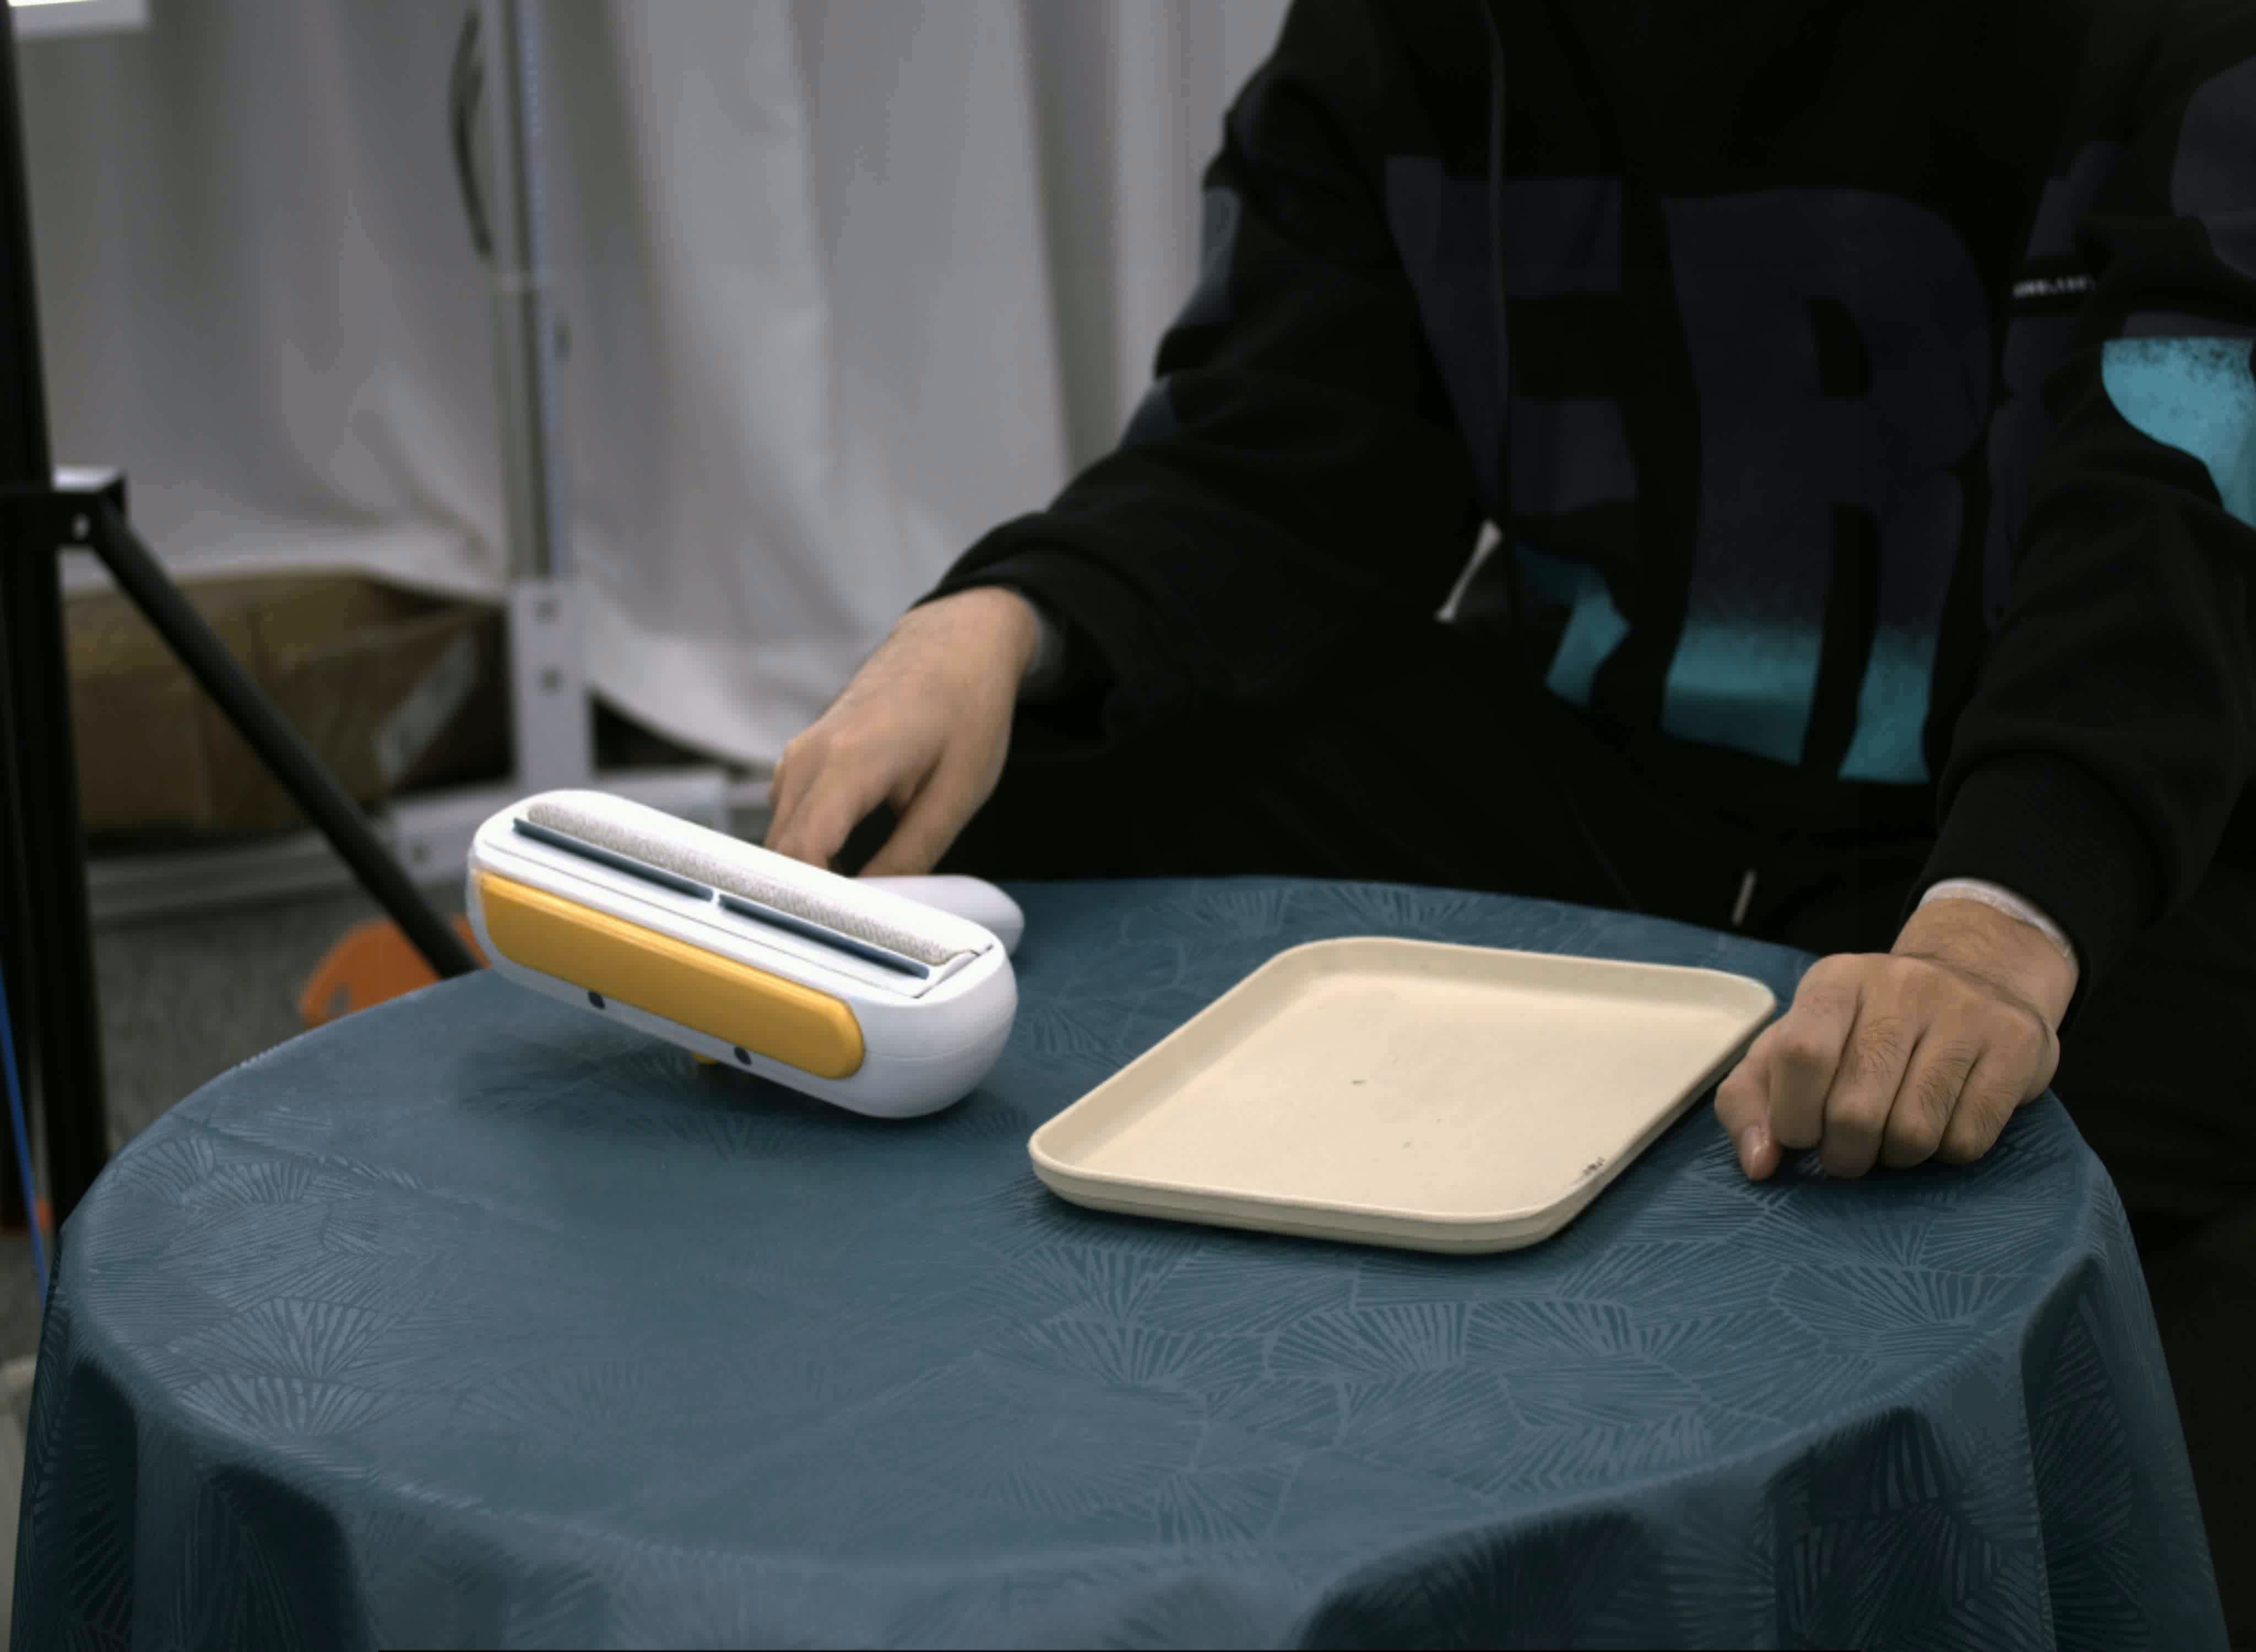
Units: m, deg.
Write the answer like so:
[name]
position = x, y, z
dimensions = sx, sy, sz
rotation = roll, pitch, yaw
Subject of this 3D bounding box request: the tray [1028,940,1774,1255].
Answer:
[tray]
position = 0.087, 0.081, 1.606
dimensions = 0.174, 0.017, 0.236
rotation = 5, 18, 26

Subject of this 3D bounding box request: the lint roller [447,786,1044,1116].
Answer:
[lint roller]
position = -0.095, 0.032, 1.720
dimensions = 0.197, 0.074, 0.188
rotation = 15, 22, 35
